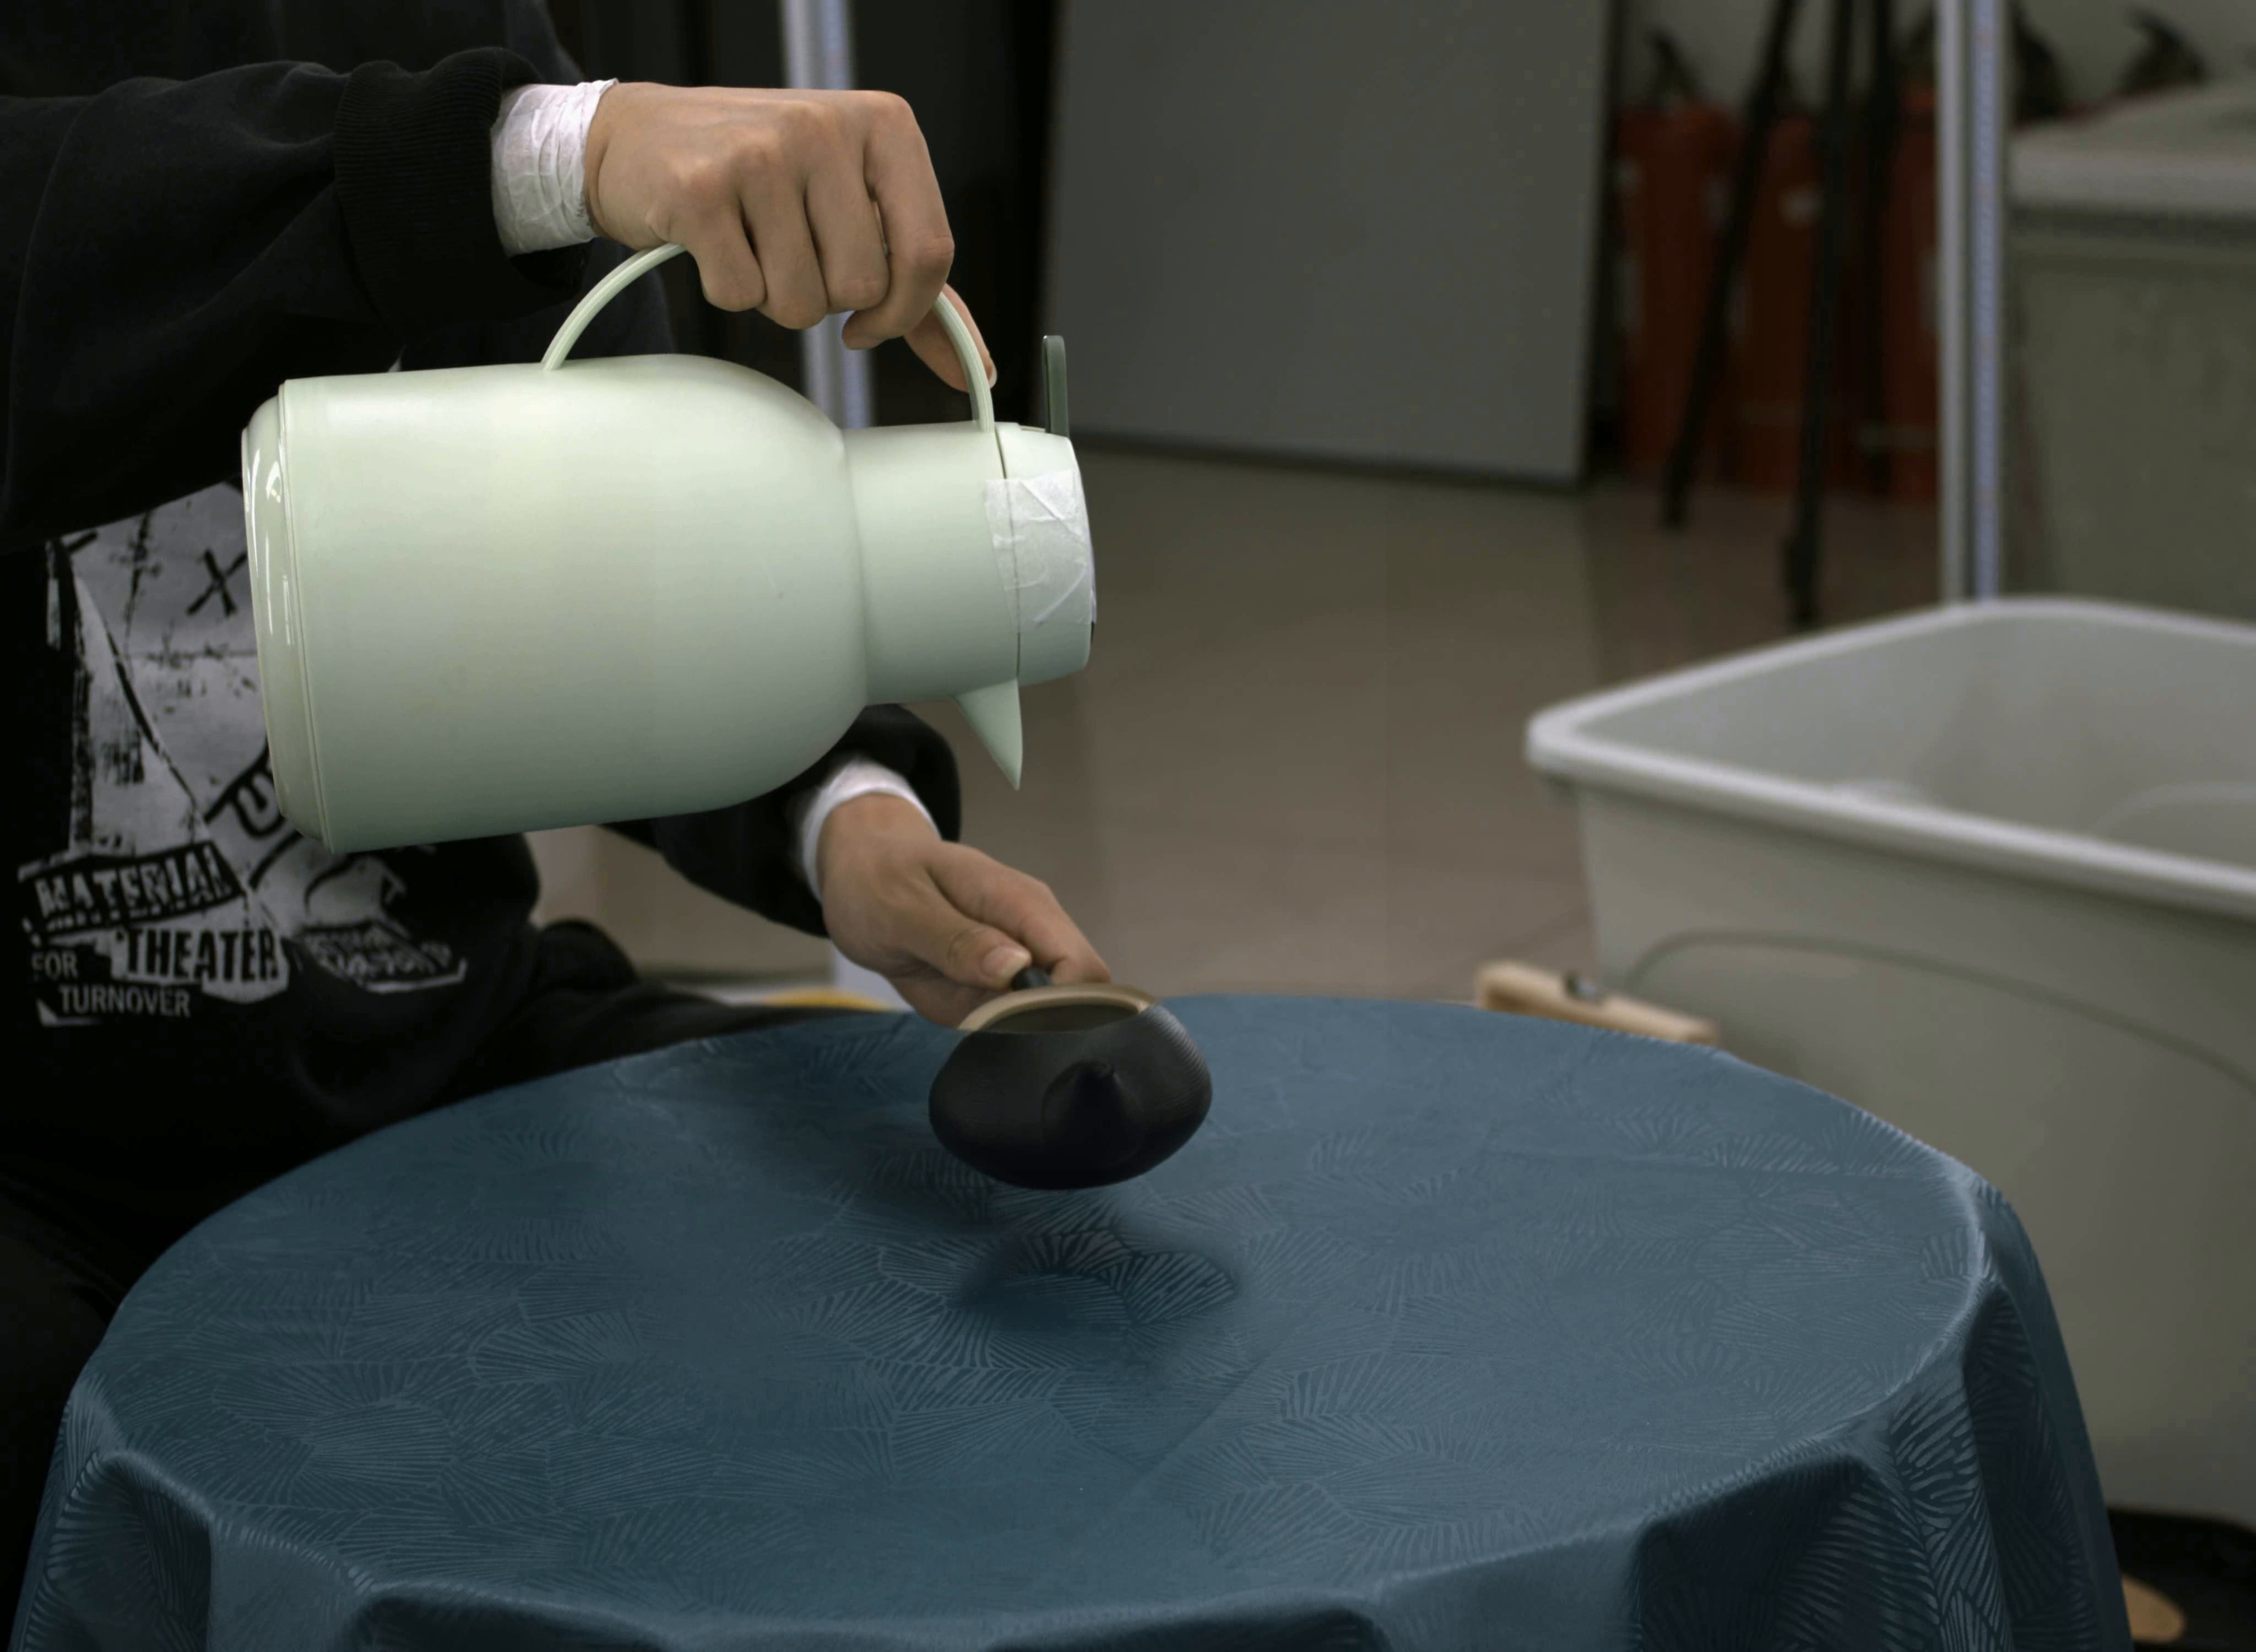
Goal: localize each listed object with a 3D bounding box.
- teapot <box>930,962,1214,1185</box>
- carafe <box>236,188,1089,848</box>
[{"bbox_3d":[-0.018,0.080,1.703,0.089,0.053,0.134,-6,14,-9],"label":"teapot"},{"bbox_3d":[-0.141,-0.093,1.649,0.253,0.189,0.144,-9,7,-4],"label":"carafe"}]
